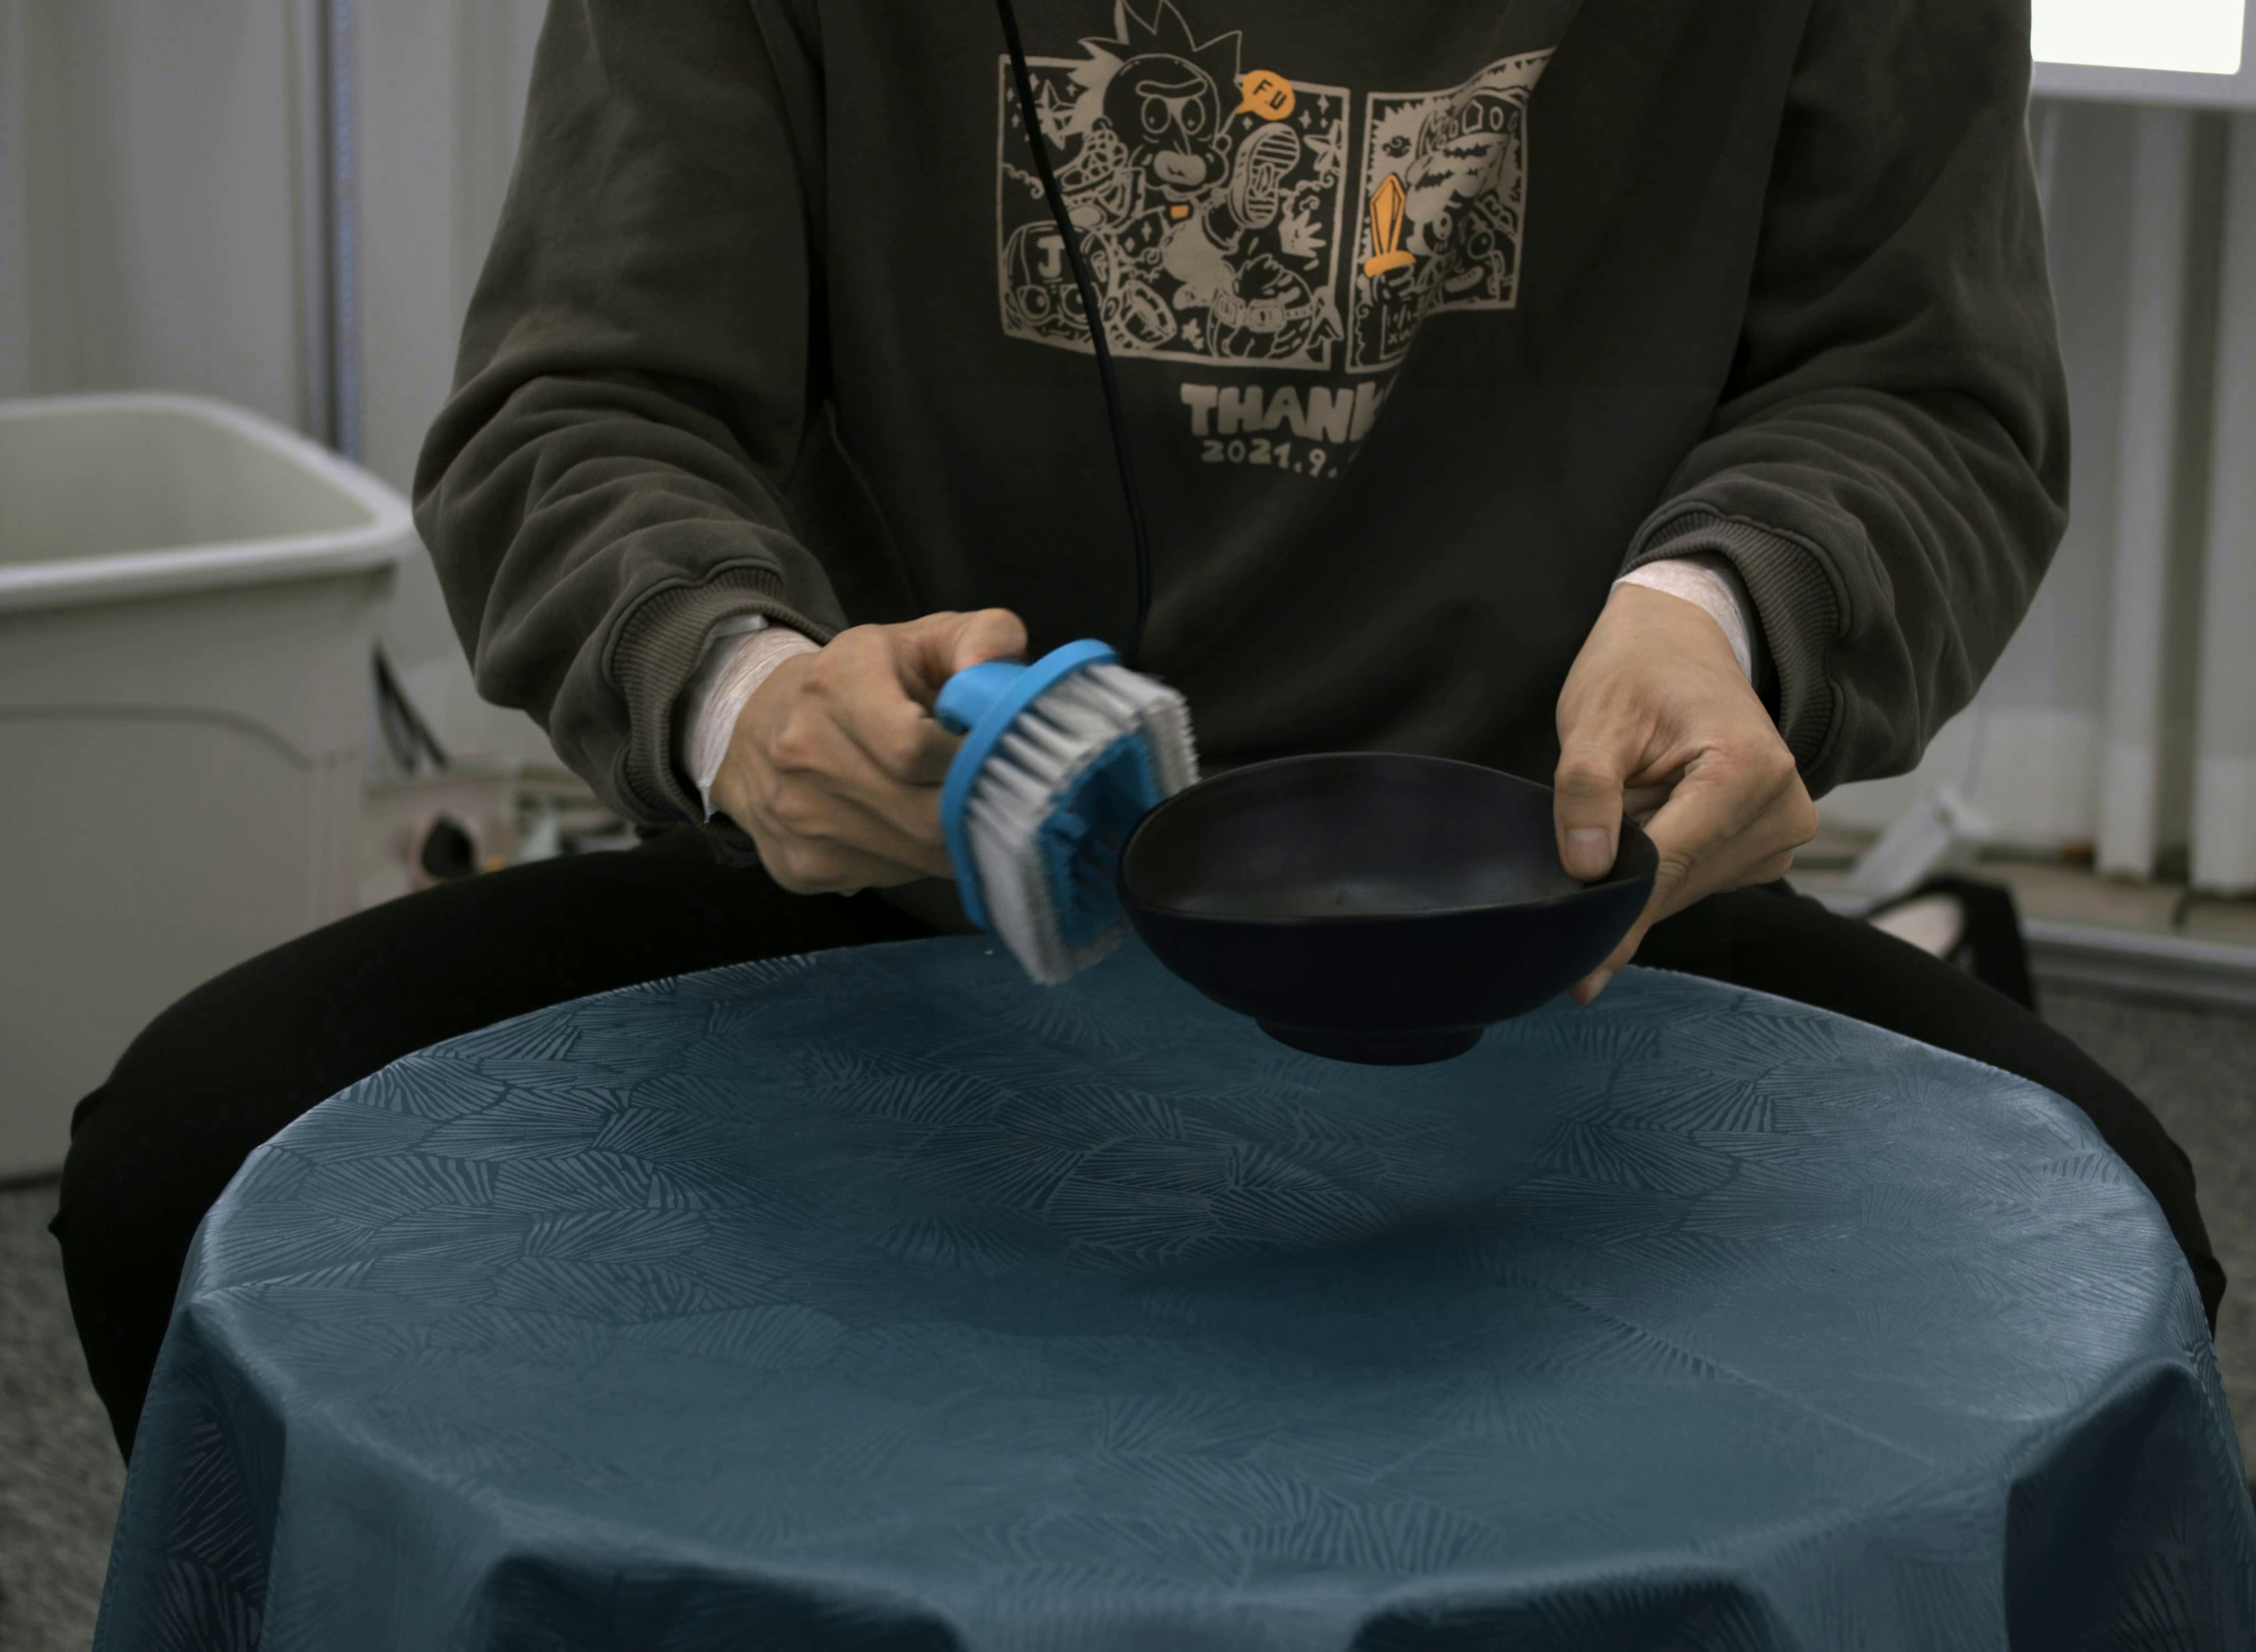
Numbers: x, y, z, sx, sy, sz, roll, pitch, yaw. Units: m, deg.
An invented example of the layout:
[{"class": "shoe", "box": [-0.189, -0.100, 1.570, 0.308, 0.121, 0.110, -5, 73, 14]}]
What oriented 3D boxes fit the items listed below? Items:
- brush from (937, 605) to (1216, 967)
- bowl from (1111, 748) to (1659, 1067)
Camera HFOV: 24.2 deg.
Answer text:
[{"class": "brush", "box": [-0.024, -0.017, 1.585, 0.063, 0.084, 0.143, 33, -16, 18]}, {"class": "bowl", "box": [0.077, 0.030, 1.575, 0.171, 0.067, 0.135, -7, 22, -28]}]
